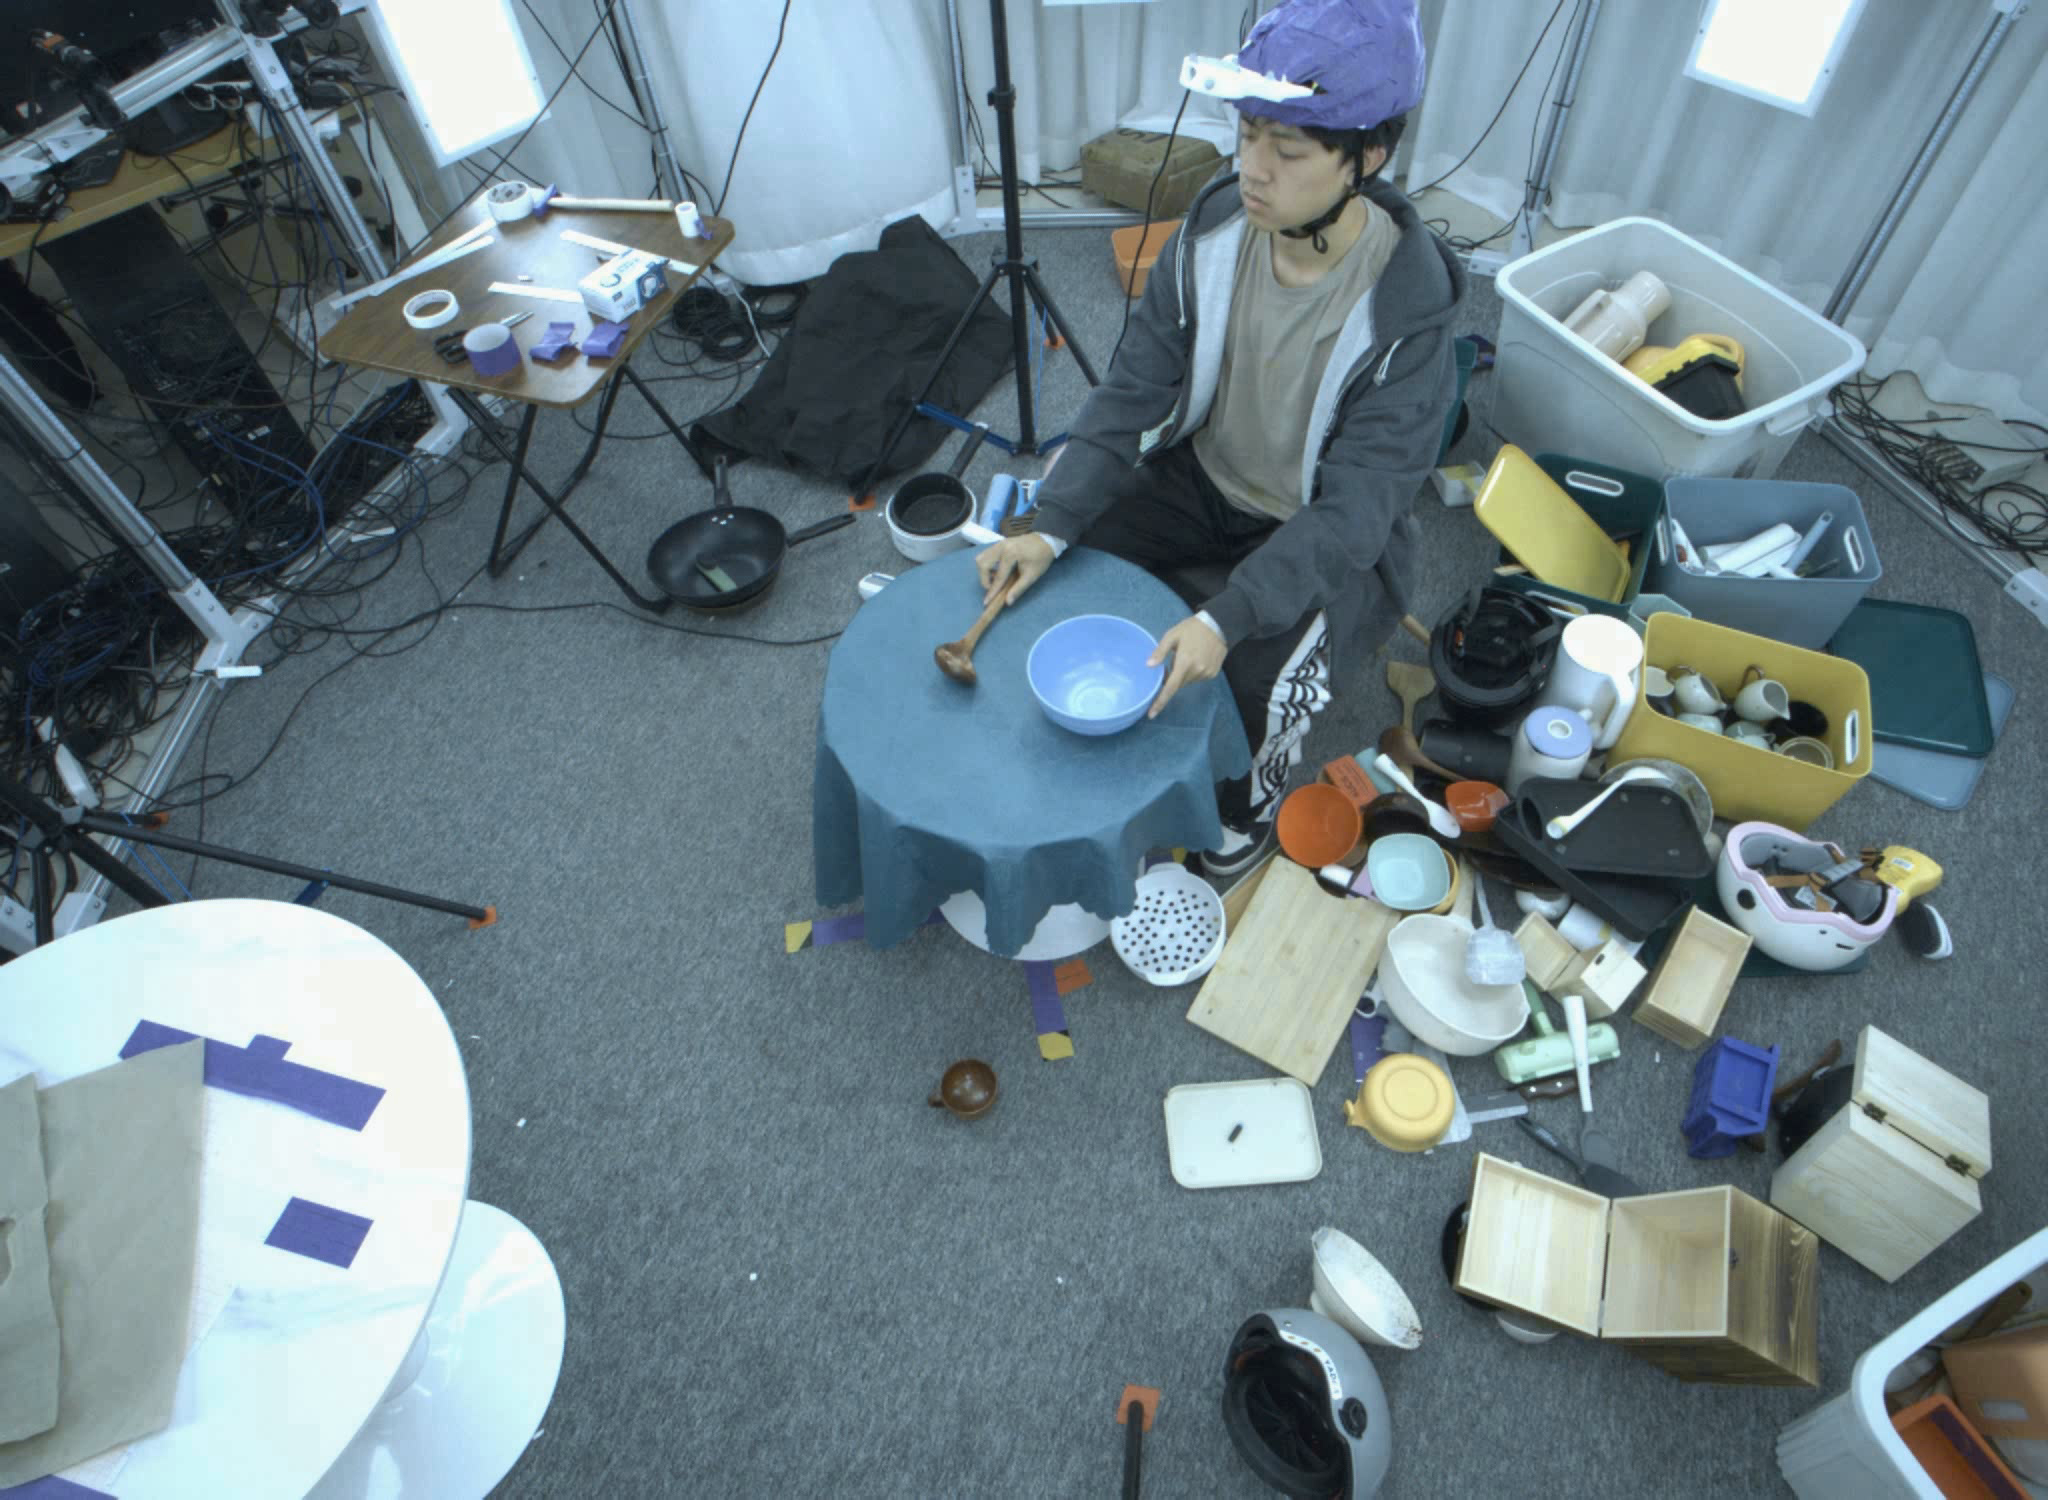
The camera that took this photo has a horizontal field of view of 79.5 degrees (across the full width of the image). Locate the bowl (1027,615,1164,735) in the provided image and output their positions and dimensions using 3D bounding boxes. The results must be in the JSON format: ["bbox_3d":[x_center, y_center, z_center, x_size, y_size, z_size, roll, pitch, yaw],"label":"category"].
[{"bbox_3d":[0.104,-0.094,1.795,0.196,0.096,0.194,-1,54,2],"label":"bowl"}]

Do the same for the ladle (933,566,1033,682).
[{"bbox_3d":[-0.051,-0.208,1.896,0.083,0.075,0.275,45,58,-15],"label":"ladle"}]
